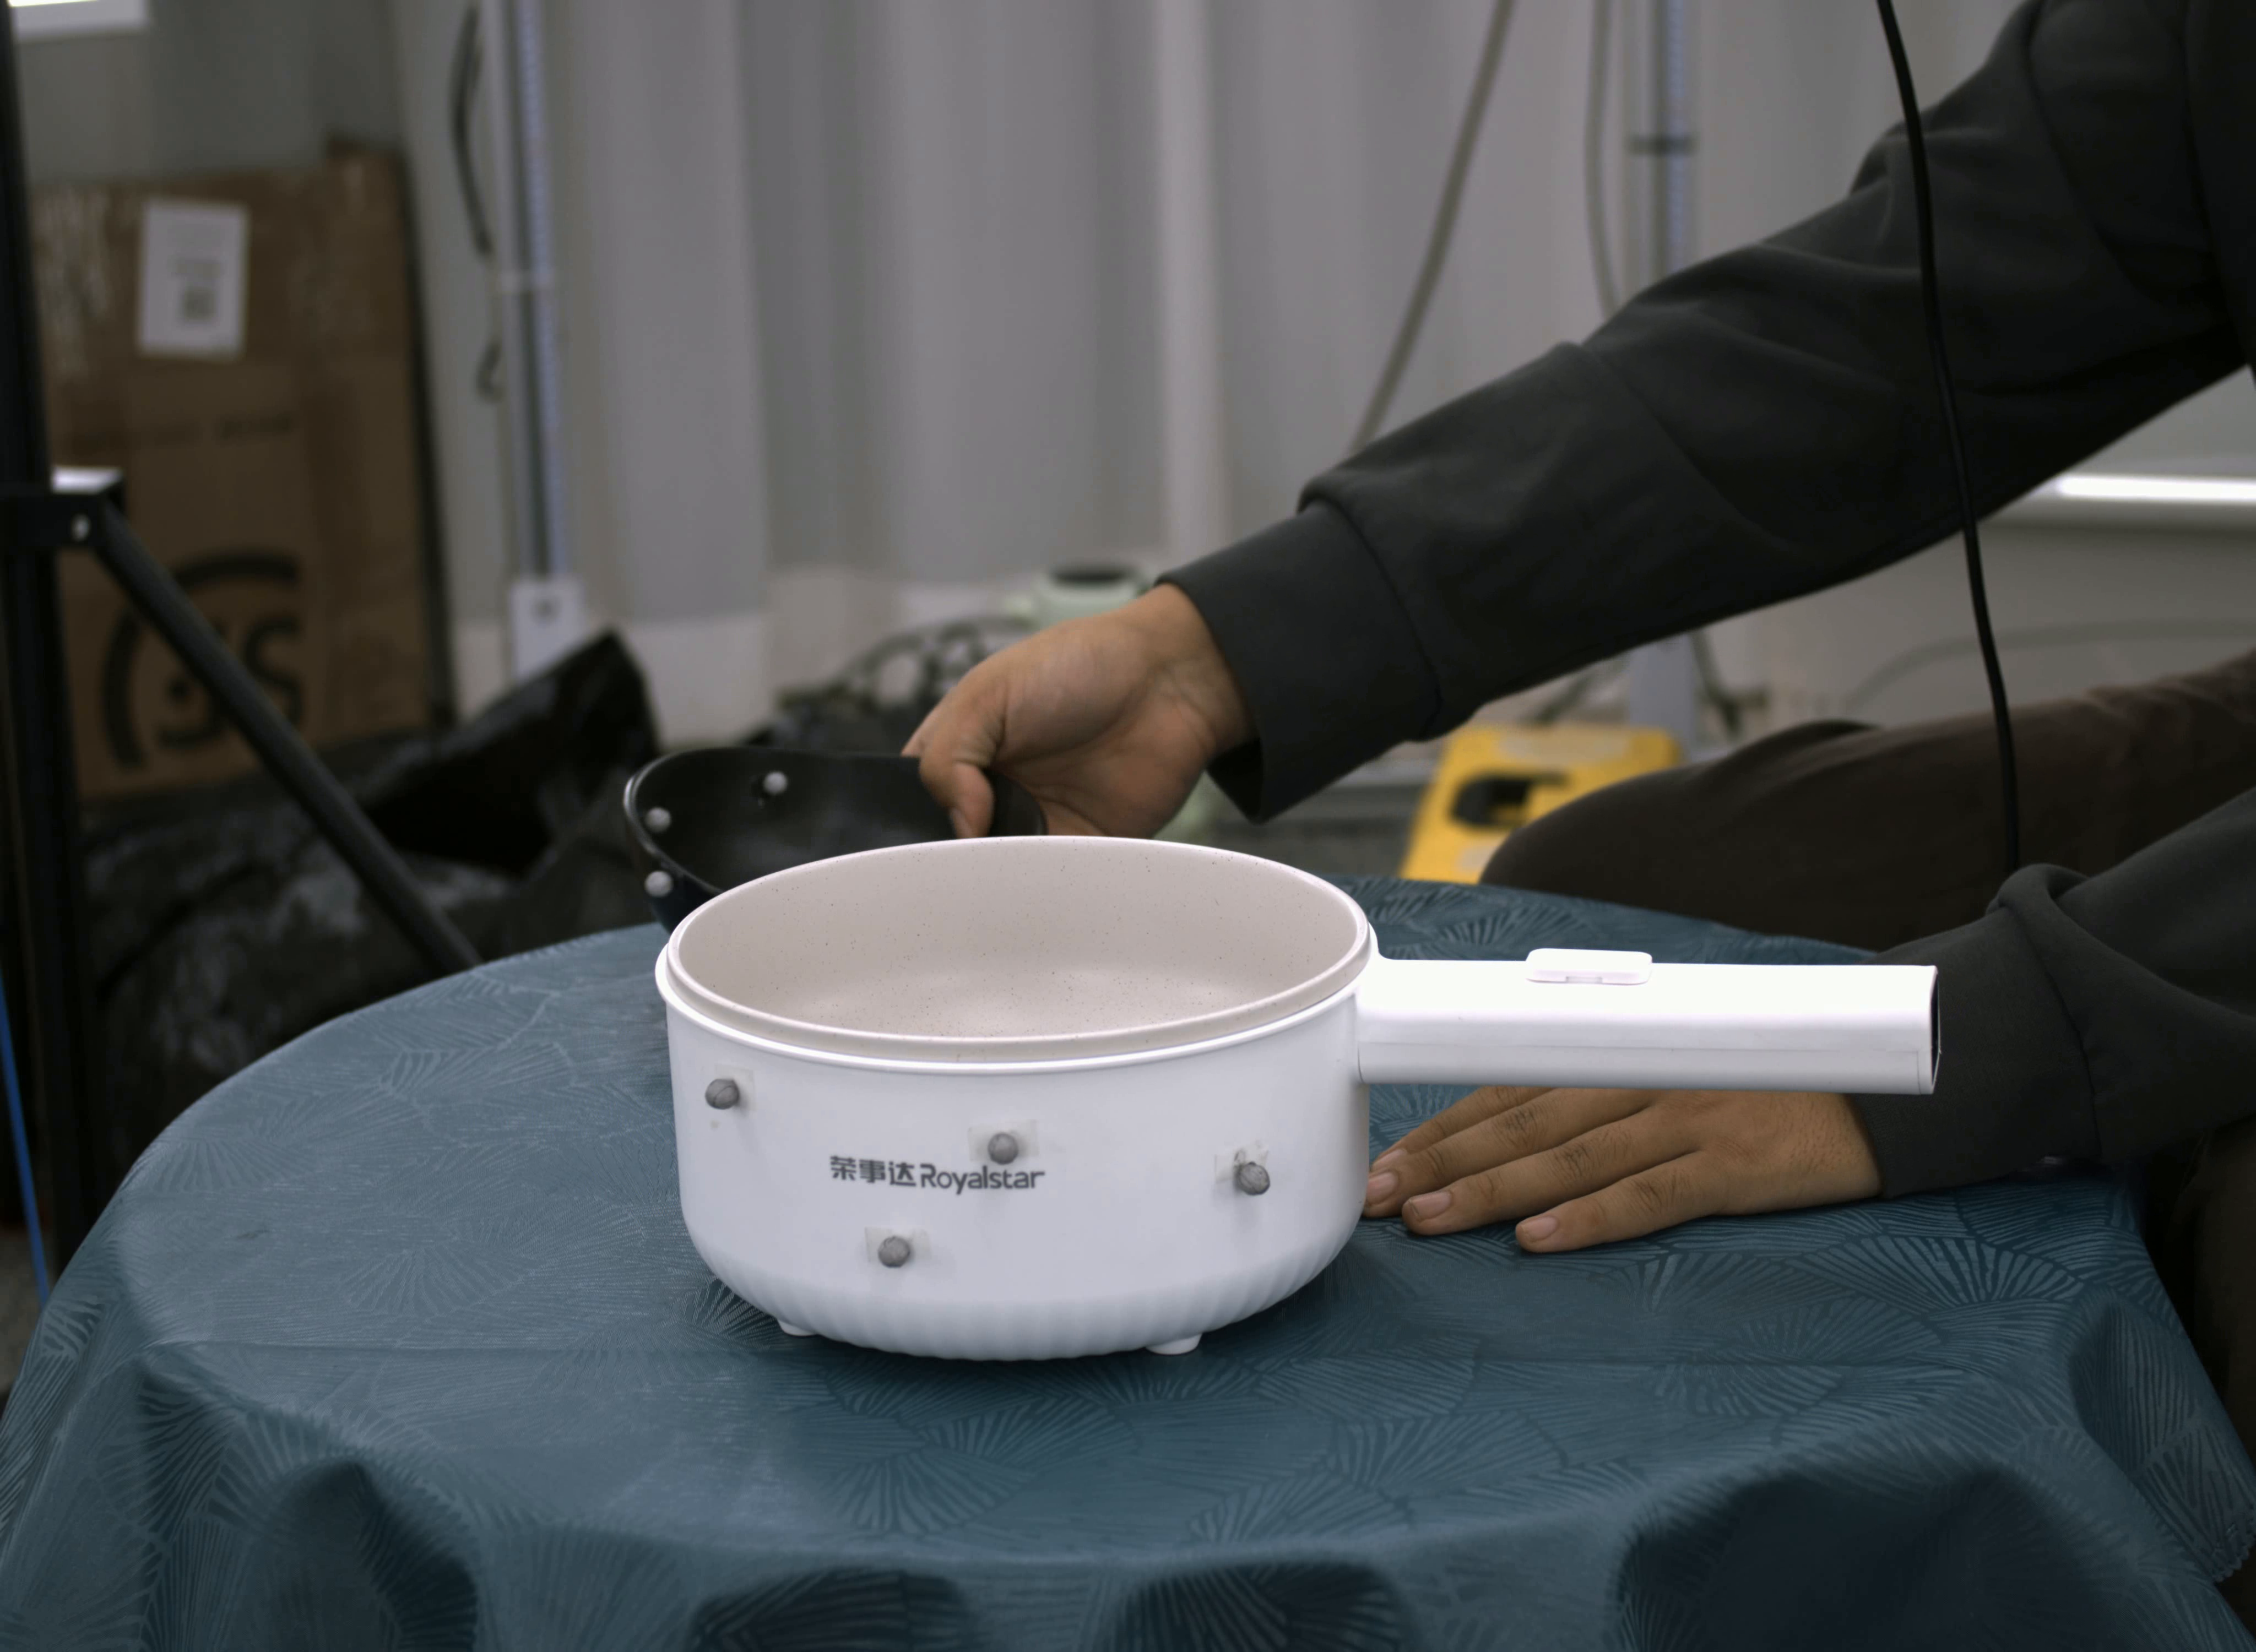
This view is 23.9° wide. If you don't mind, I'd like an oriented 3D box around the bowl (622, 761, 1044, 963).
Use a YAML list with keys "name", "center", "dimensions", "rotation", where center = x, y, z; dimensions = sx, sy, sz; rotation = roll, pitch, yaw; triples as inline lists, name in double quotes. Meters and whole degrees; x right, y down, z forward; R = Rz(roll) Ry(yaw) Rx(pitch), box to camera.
- name: "bowl"
  center: [-0.097, 0.023, 1.738]
  dimensions: [0.136, 0.067, 0.171]
  rotation: [2, 19, -3]

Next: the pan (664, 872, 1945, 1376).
- name: "pan"
  center: [0.046, 0.089, 1.467]
  dimensions: [0.357, 0.102, 0.200]
  rotation: [3, 13, 13]
